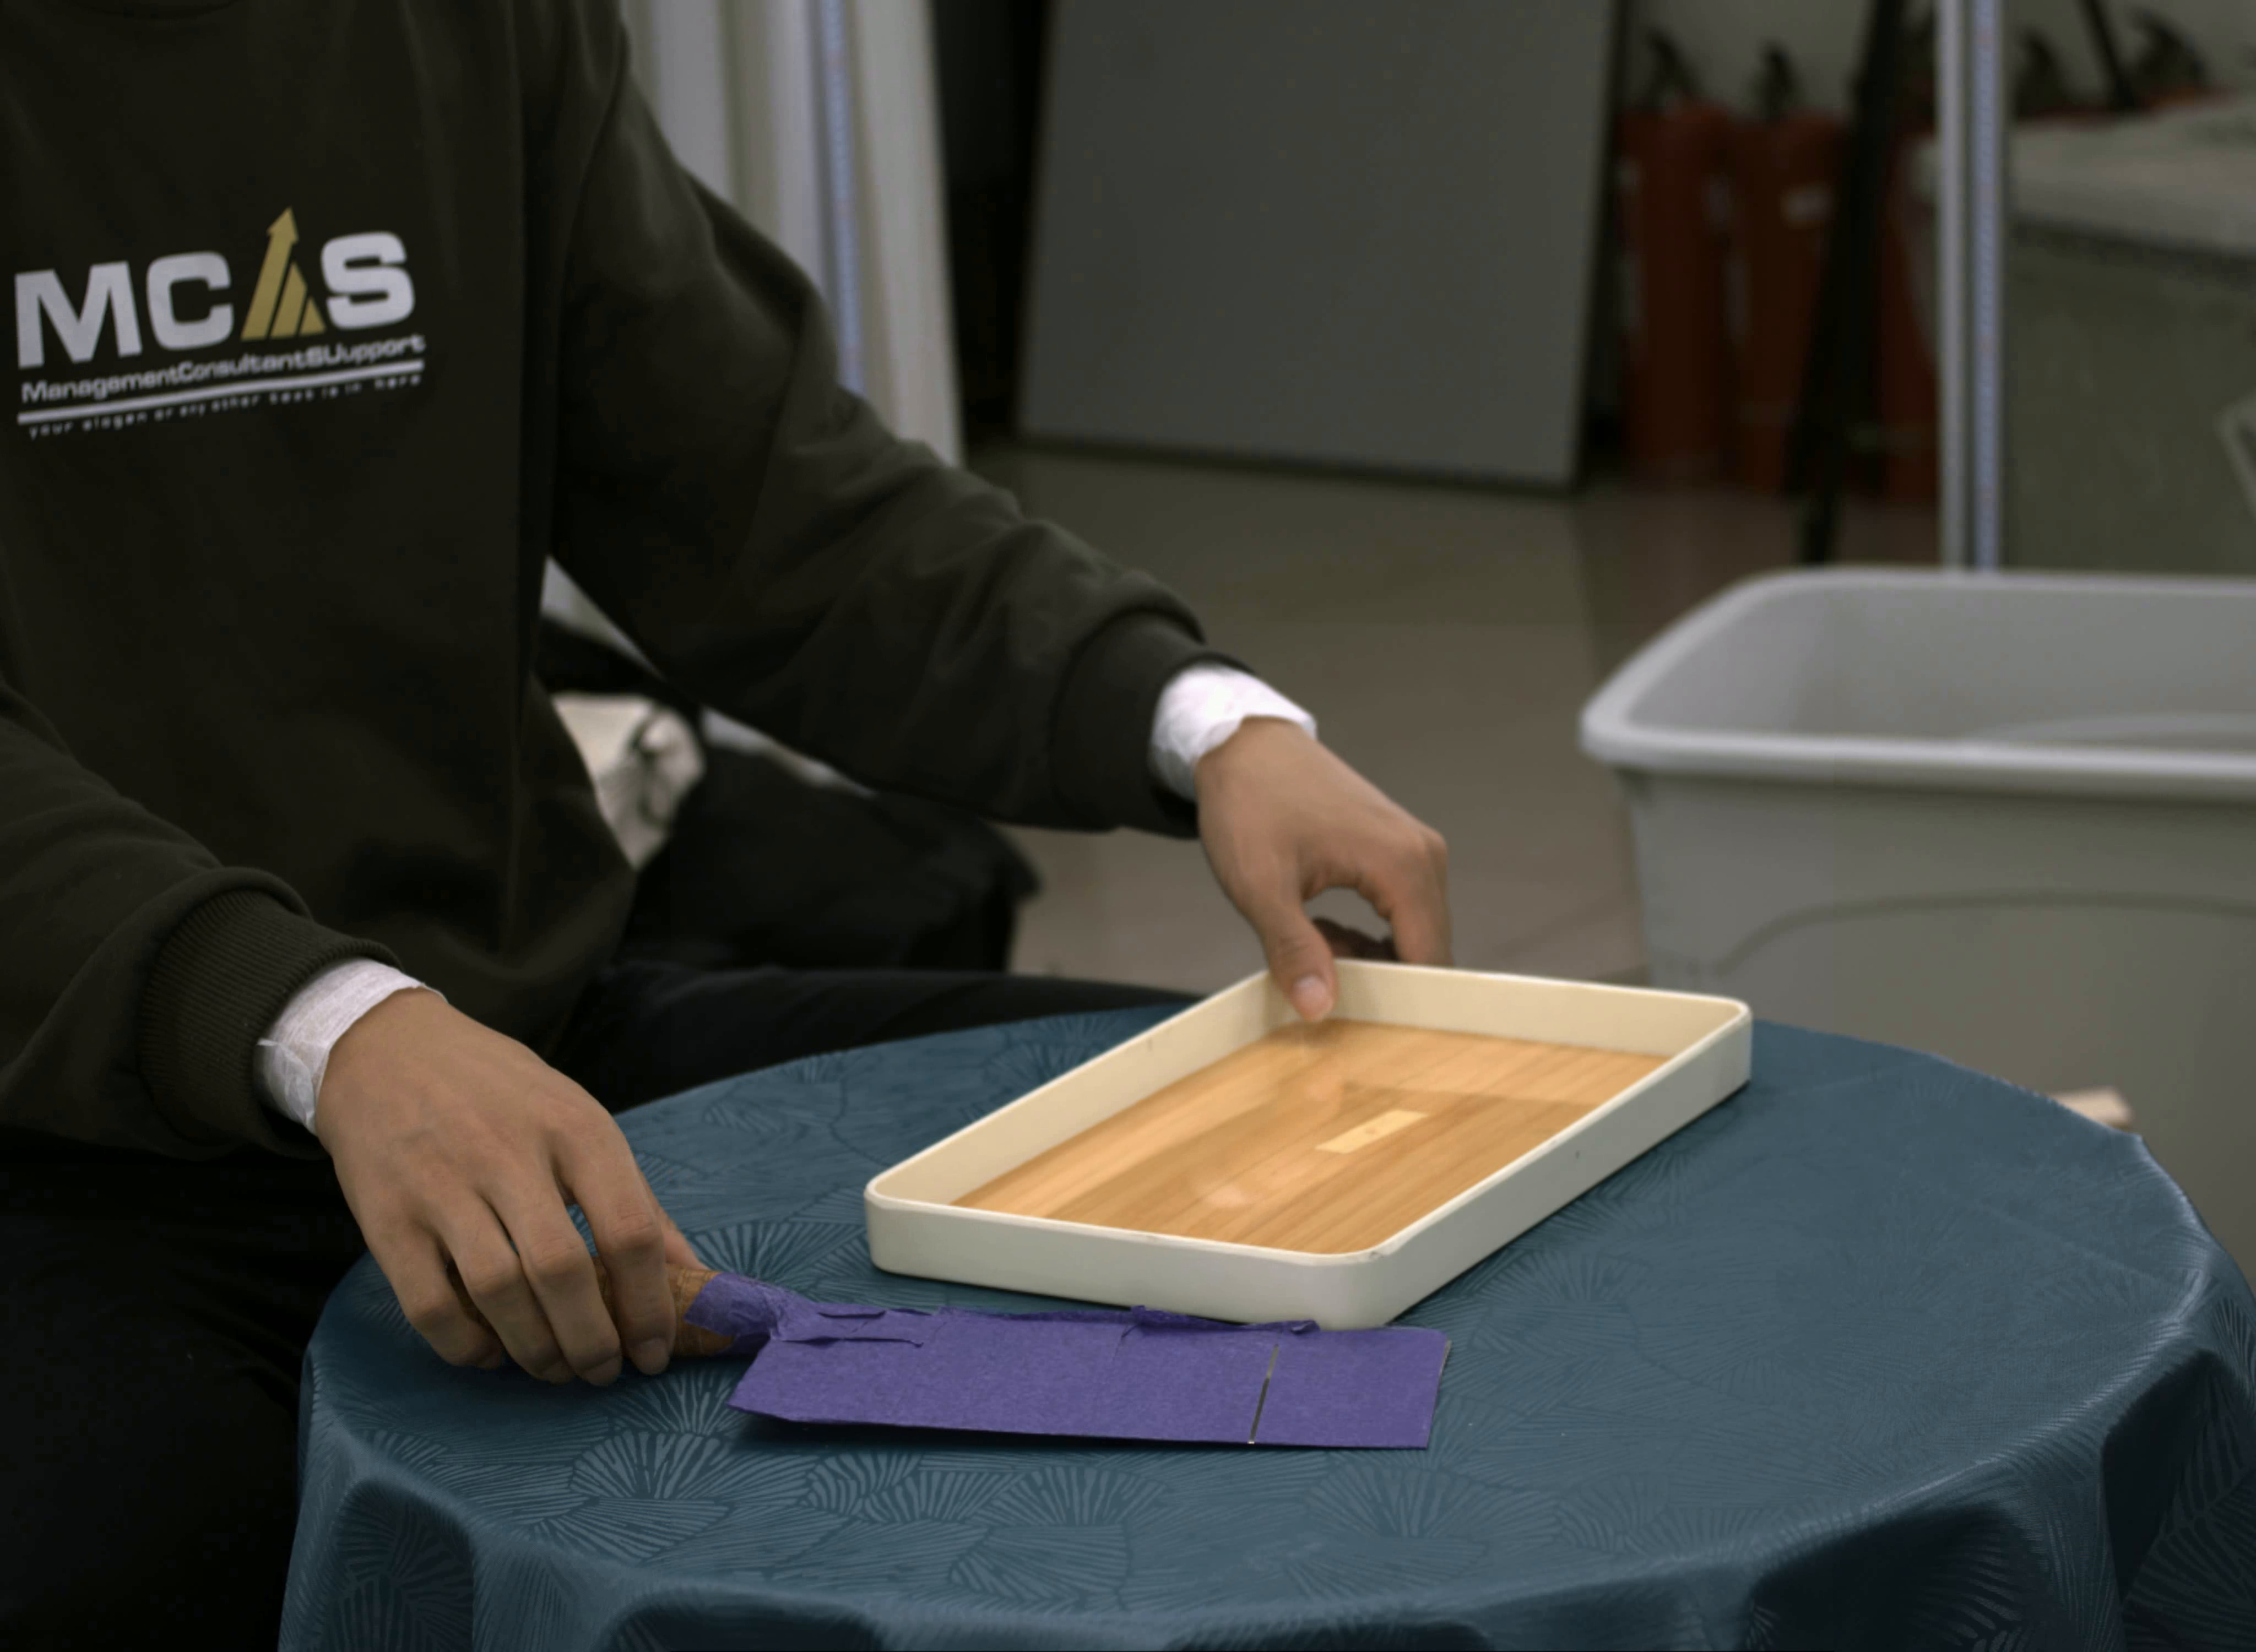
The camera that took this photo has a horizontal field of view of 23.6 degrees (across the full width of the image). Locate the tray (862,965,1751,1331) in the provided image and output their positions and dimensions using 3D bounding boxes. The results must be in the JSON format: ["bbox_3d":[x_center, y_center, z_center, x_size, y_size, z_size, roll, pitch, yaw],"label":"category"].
[{"bbox_3d":[0.065,0.102,1.780,0.192,0.028,0.295,4,15,32],"label":"tray"}]

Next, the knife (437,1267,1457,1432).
[{"bbox_3d":[-0.059,0.155,1.594,0.313,0.032,0.103,-1,13,11],"label":"knife"}]
